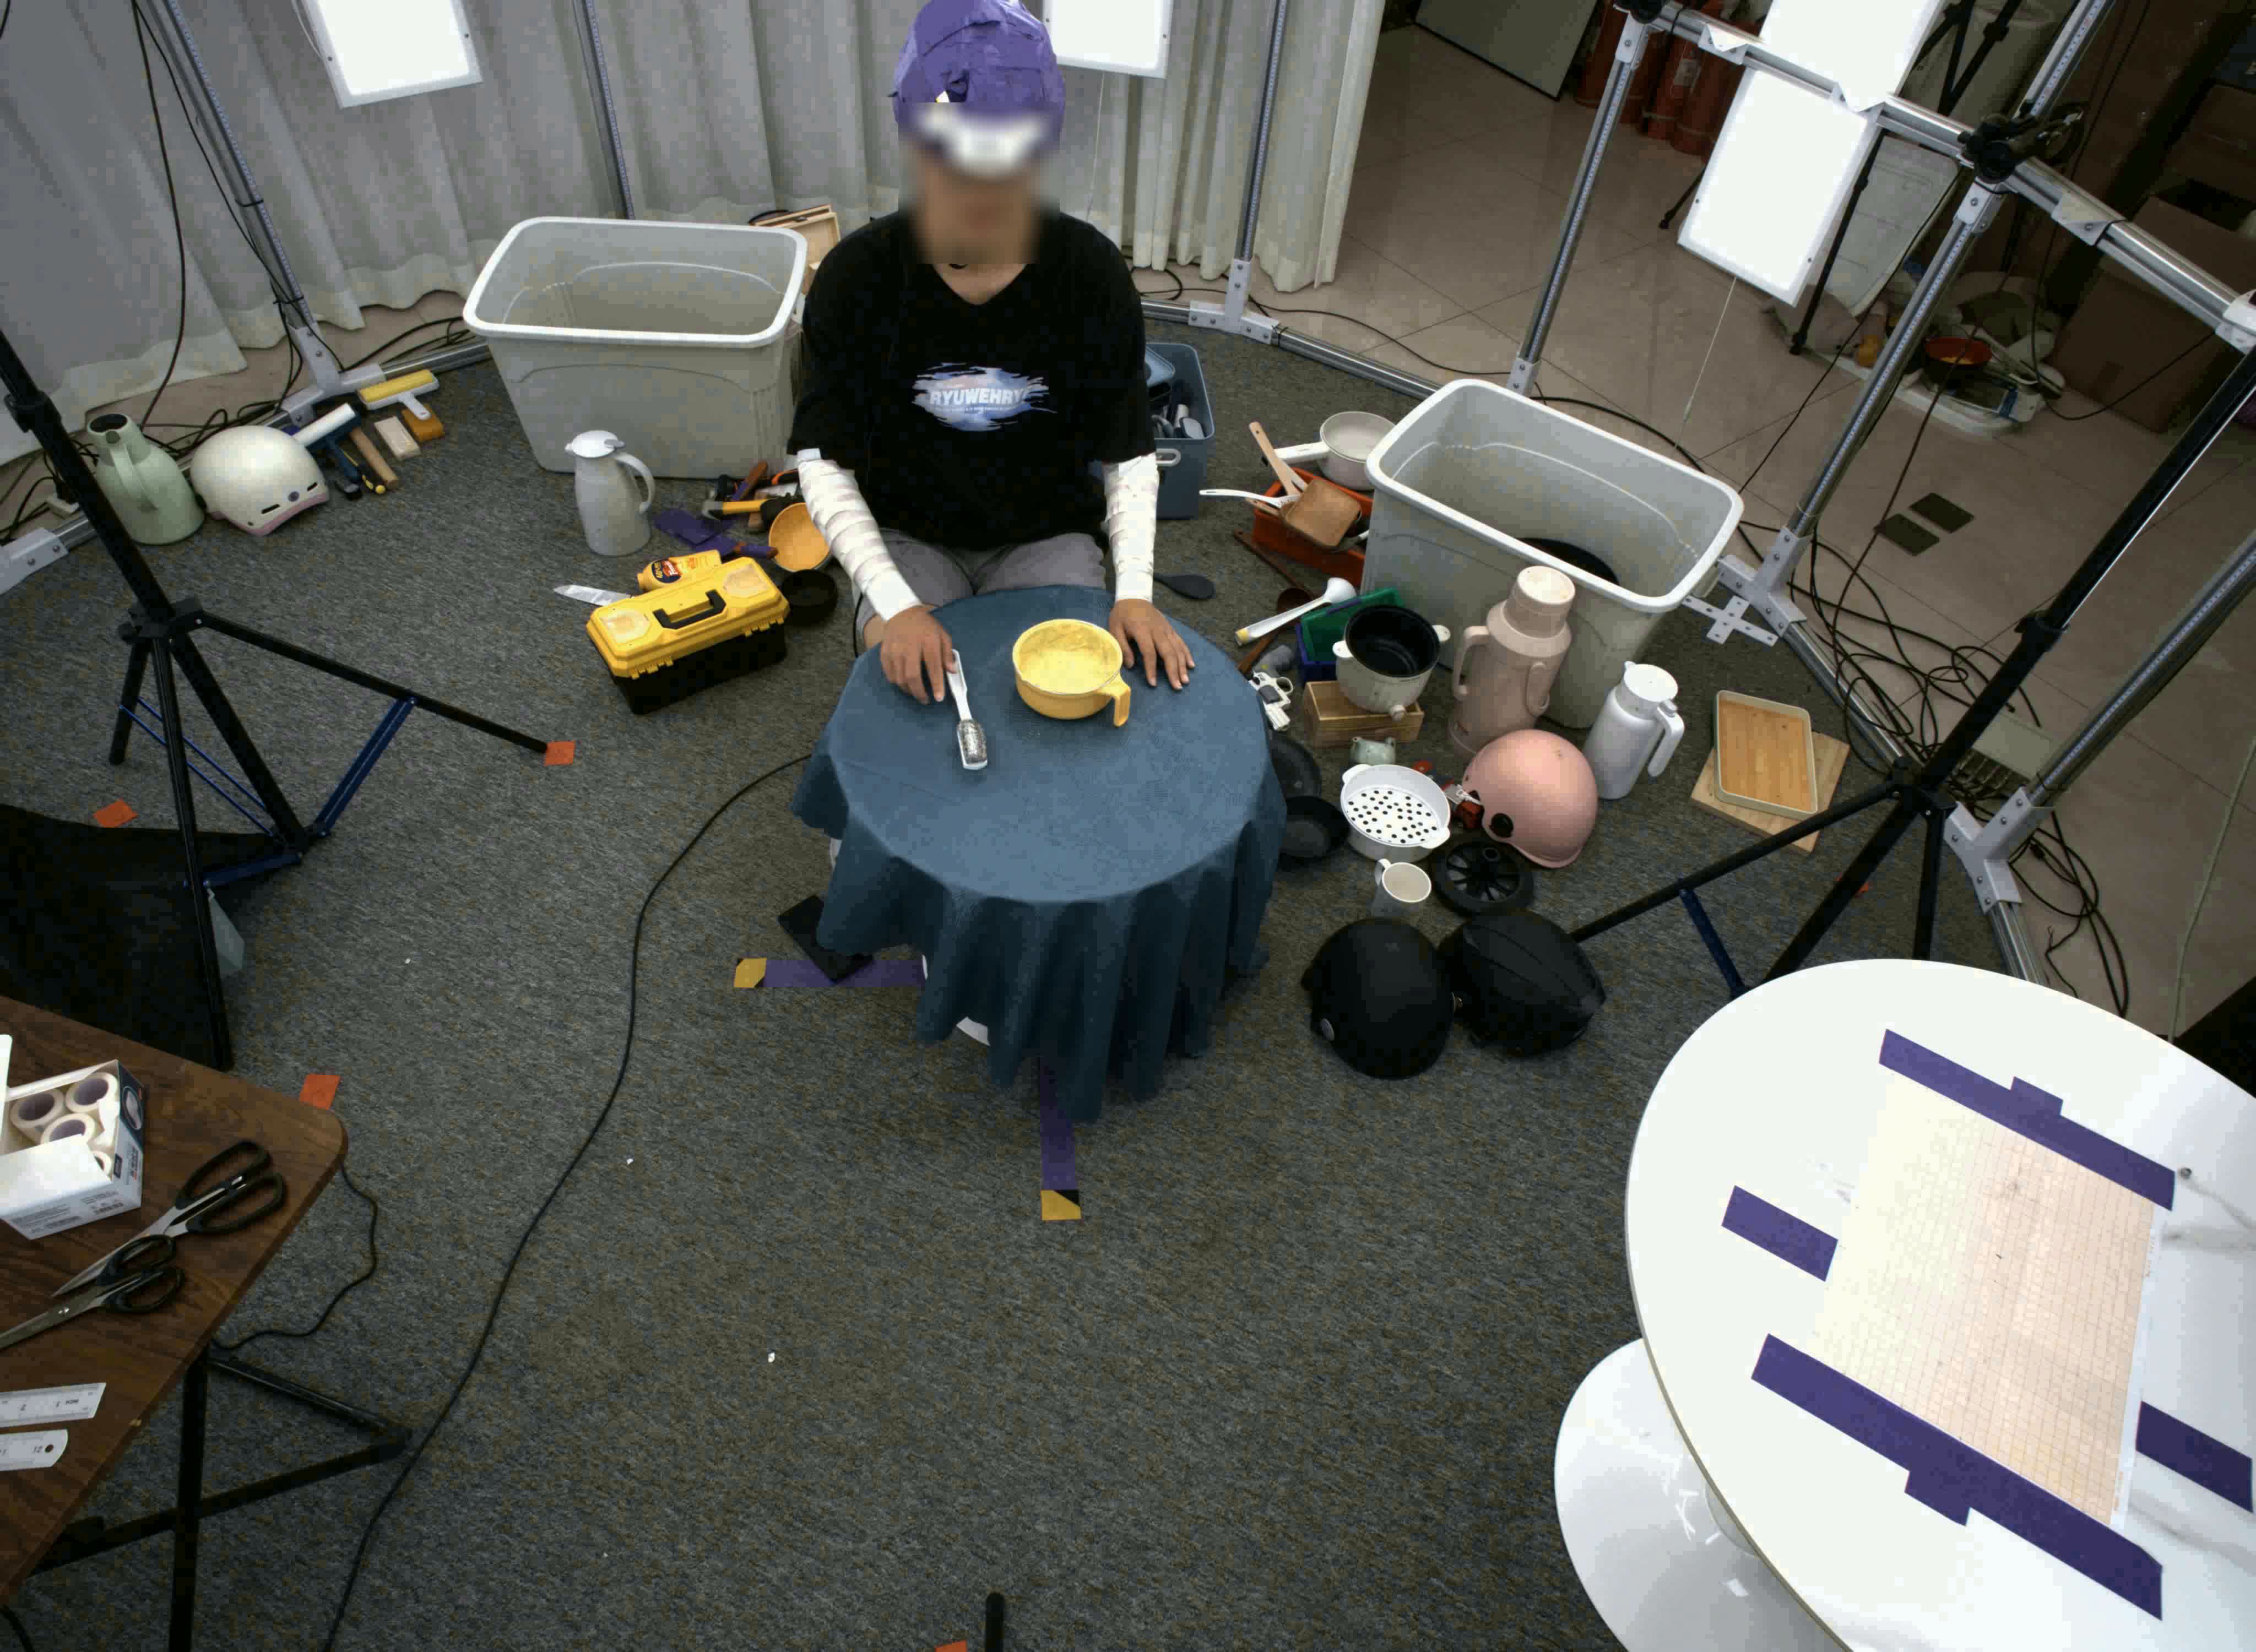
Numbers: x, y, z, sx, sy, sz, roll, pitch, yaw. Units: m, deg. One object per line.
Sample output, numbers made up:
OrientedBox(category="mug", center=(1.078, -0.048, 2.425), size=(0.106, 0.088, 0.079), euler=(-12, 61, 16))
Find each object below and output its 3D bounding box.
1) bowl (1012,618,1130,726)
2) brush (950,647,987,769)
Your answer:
OrientedBox(category="bowl", center=(-0.076, -0.210, 1.807), size=(0.181, 0.072, 0.155), euler=(30, 53, 21))
OrientedBox(category="brush", center=(-0.225, -0.177, 1.780), size=(0.034, 0.049, 0.250), euler=(-7, 51, -8))
